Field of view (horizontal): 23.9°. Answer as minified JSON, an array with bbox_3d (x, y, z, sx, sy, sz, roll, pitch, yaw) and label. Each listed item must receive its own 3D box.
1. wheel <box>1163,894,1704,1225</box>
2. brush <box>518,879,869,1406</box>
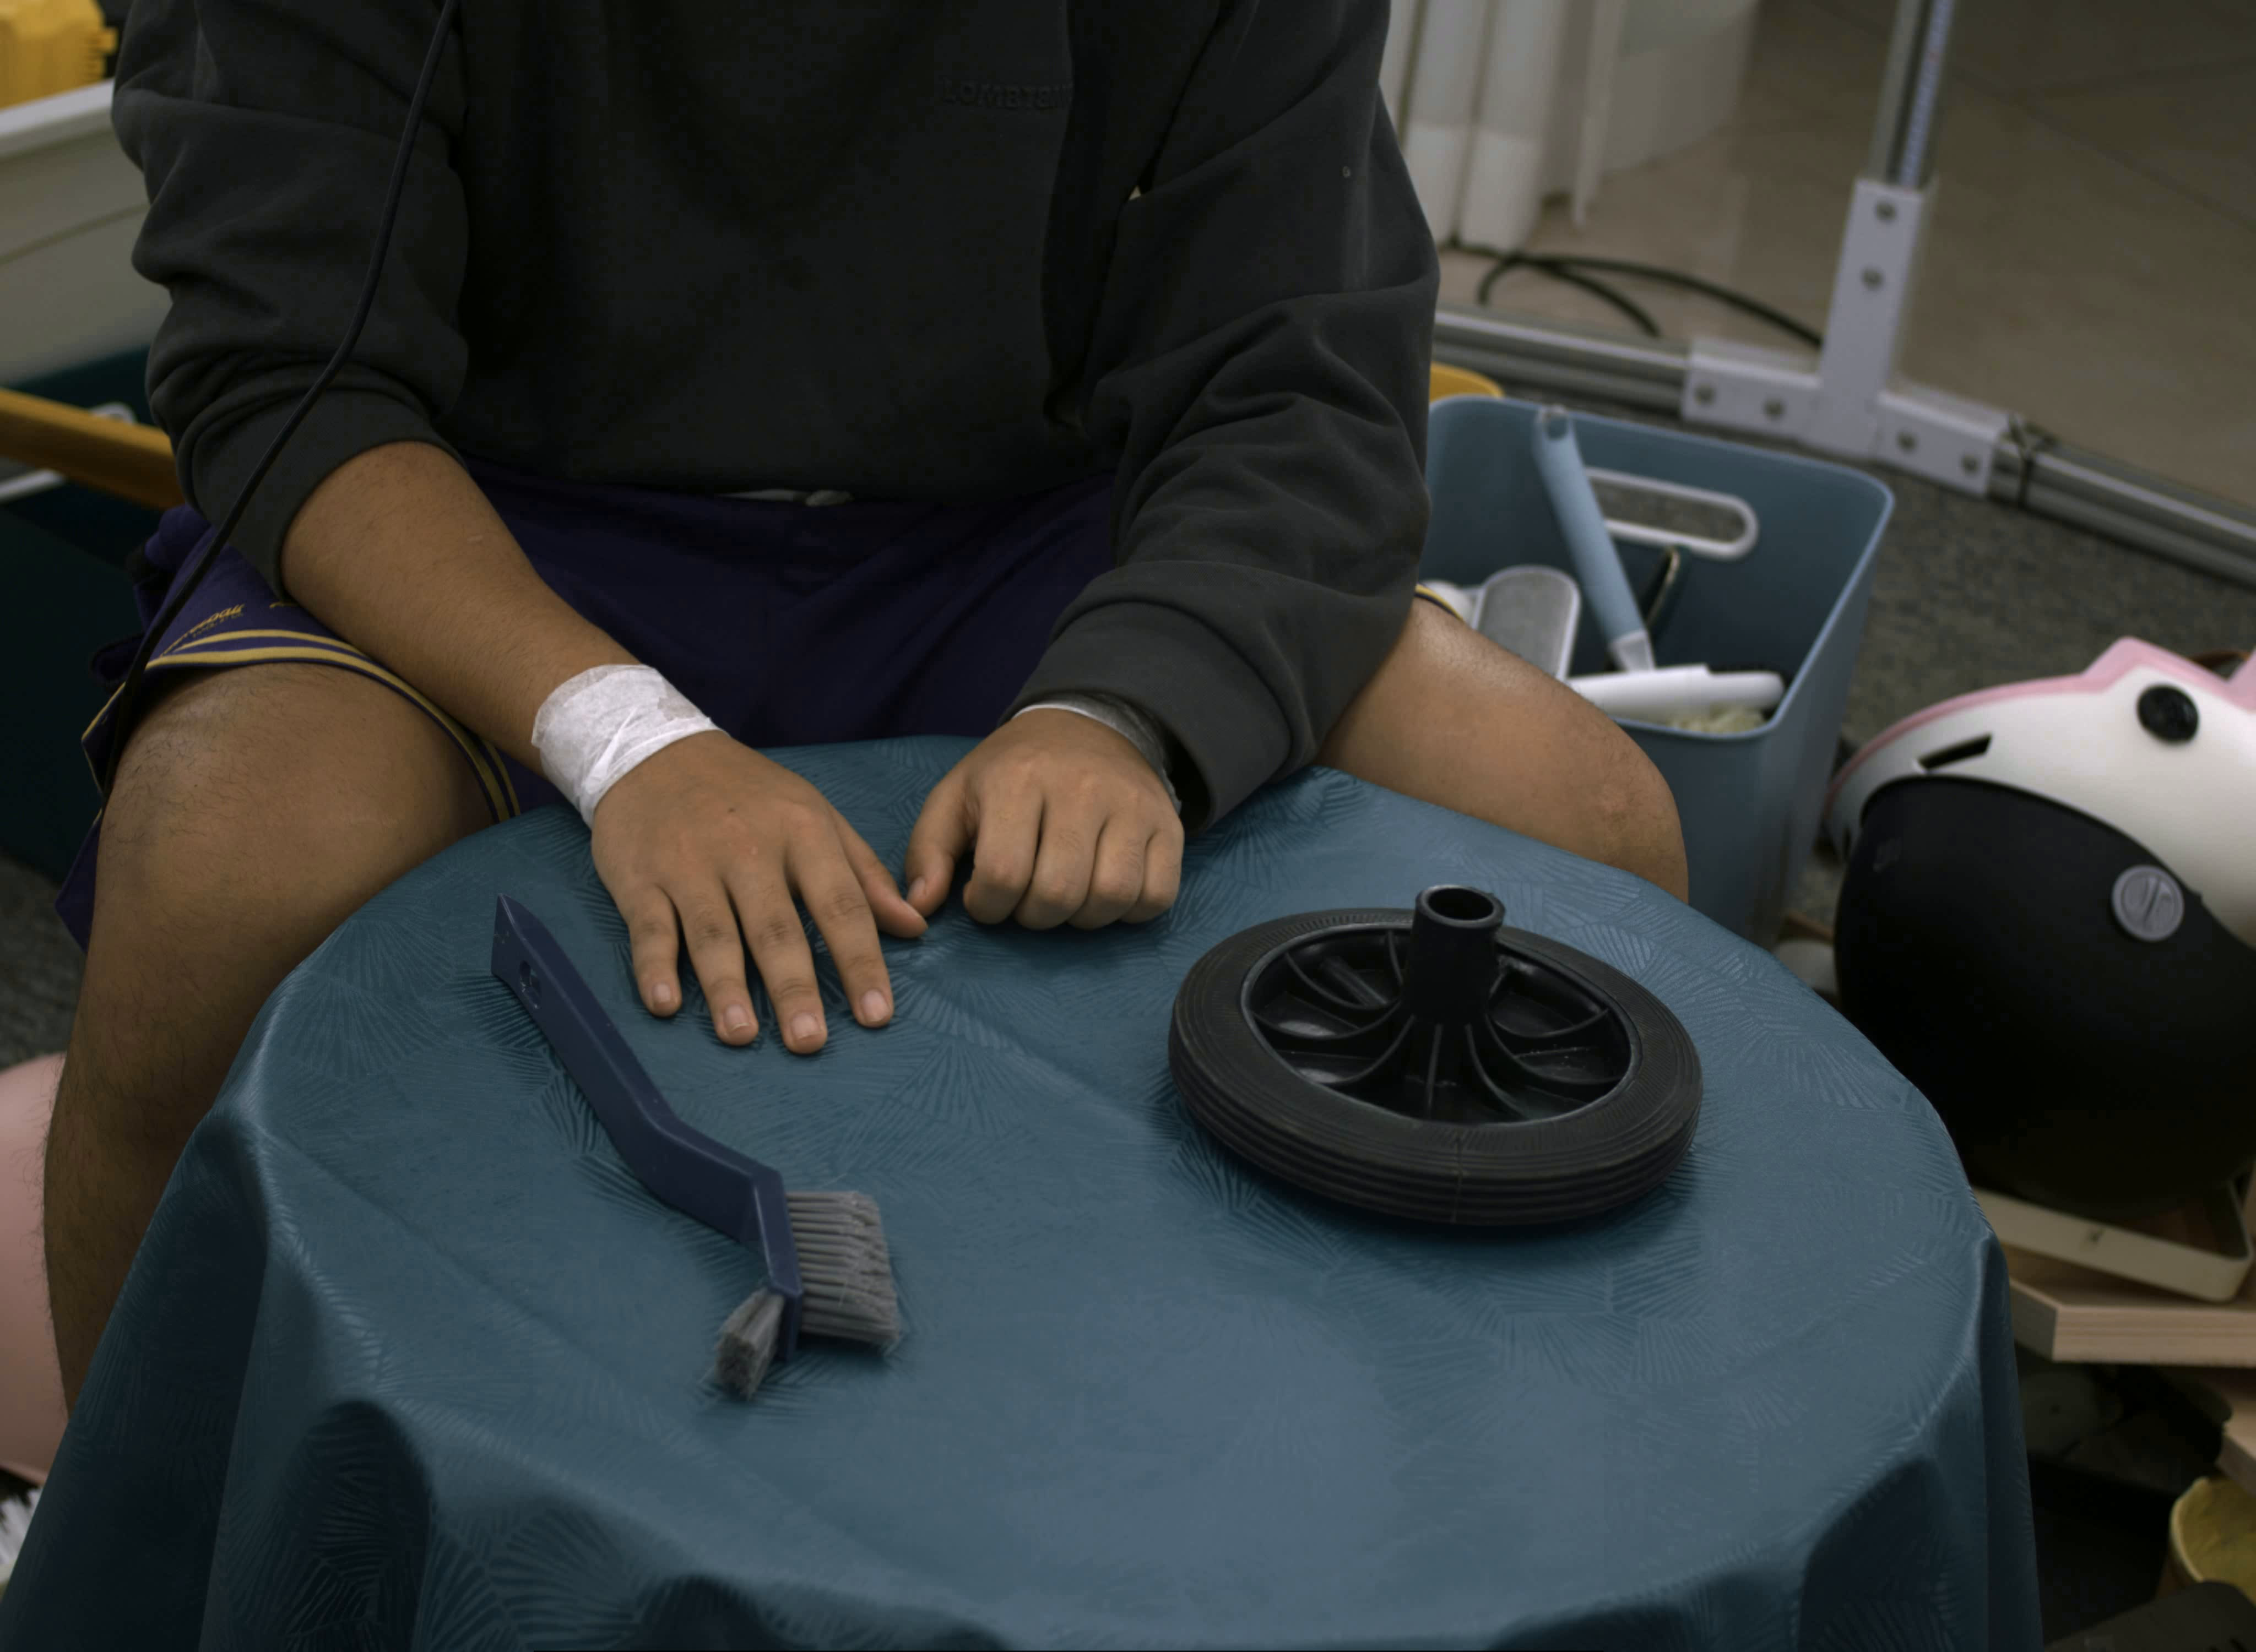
[{"bbox_3d":[0.109,0.065,1.856,0.191,0.079,0.187,22,31,28],"label":"wheel"},{"bbox_3d":[-0.166,0.100,1.774,0.095,0.033,0.276,-12,34,-31],"label":"brush"}]
